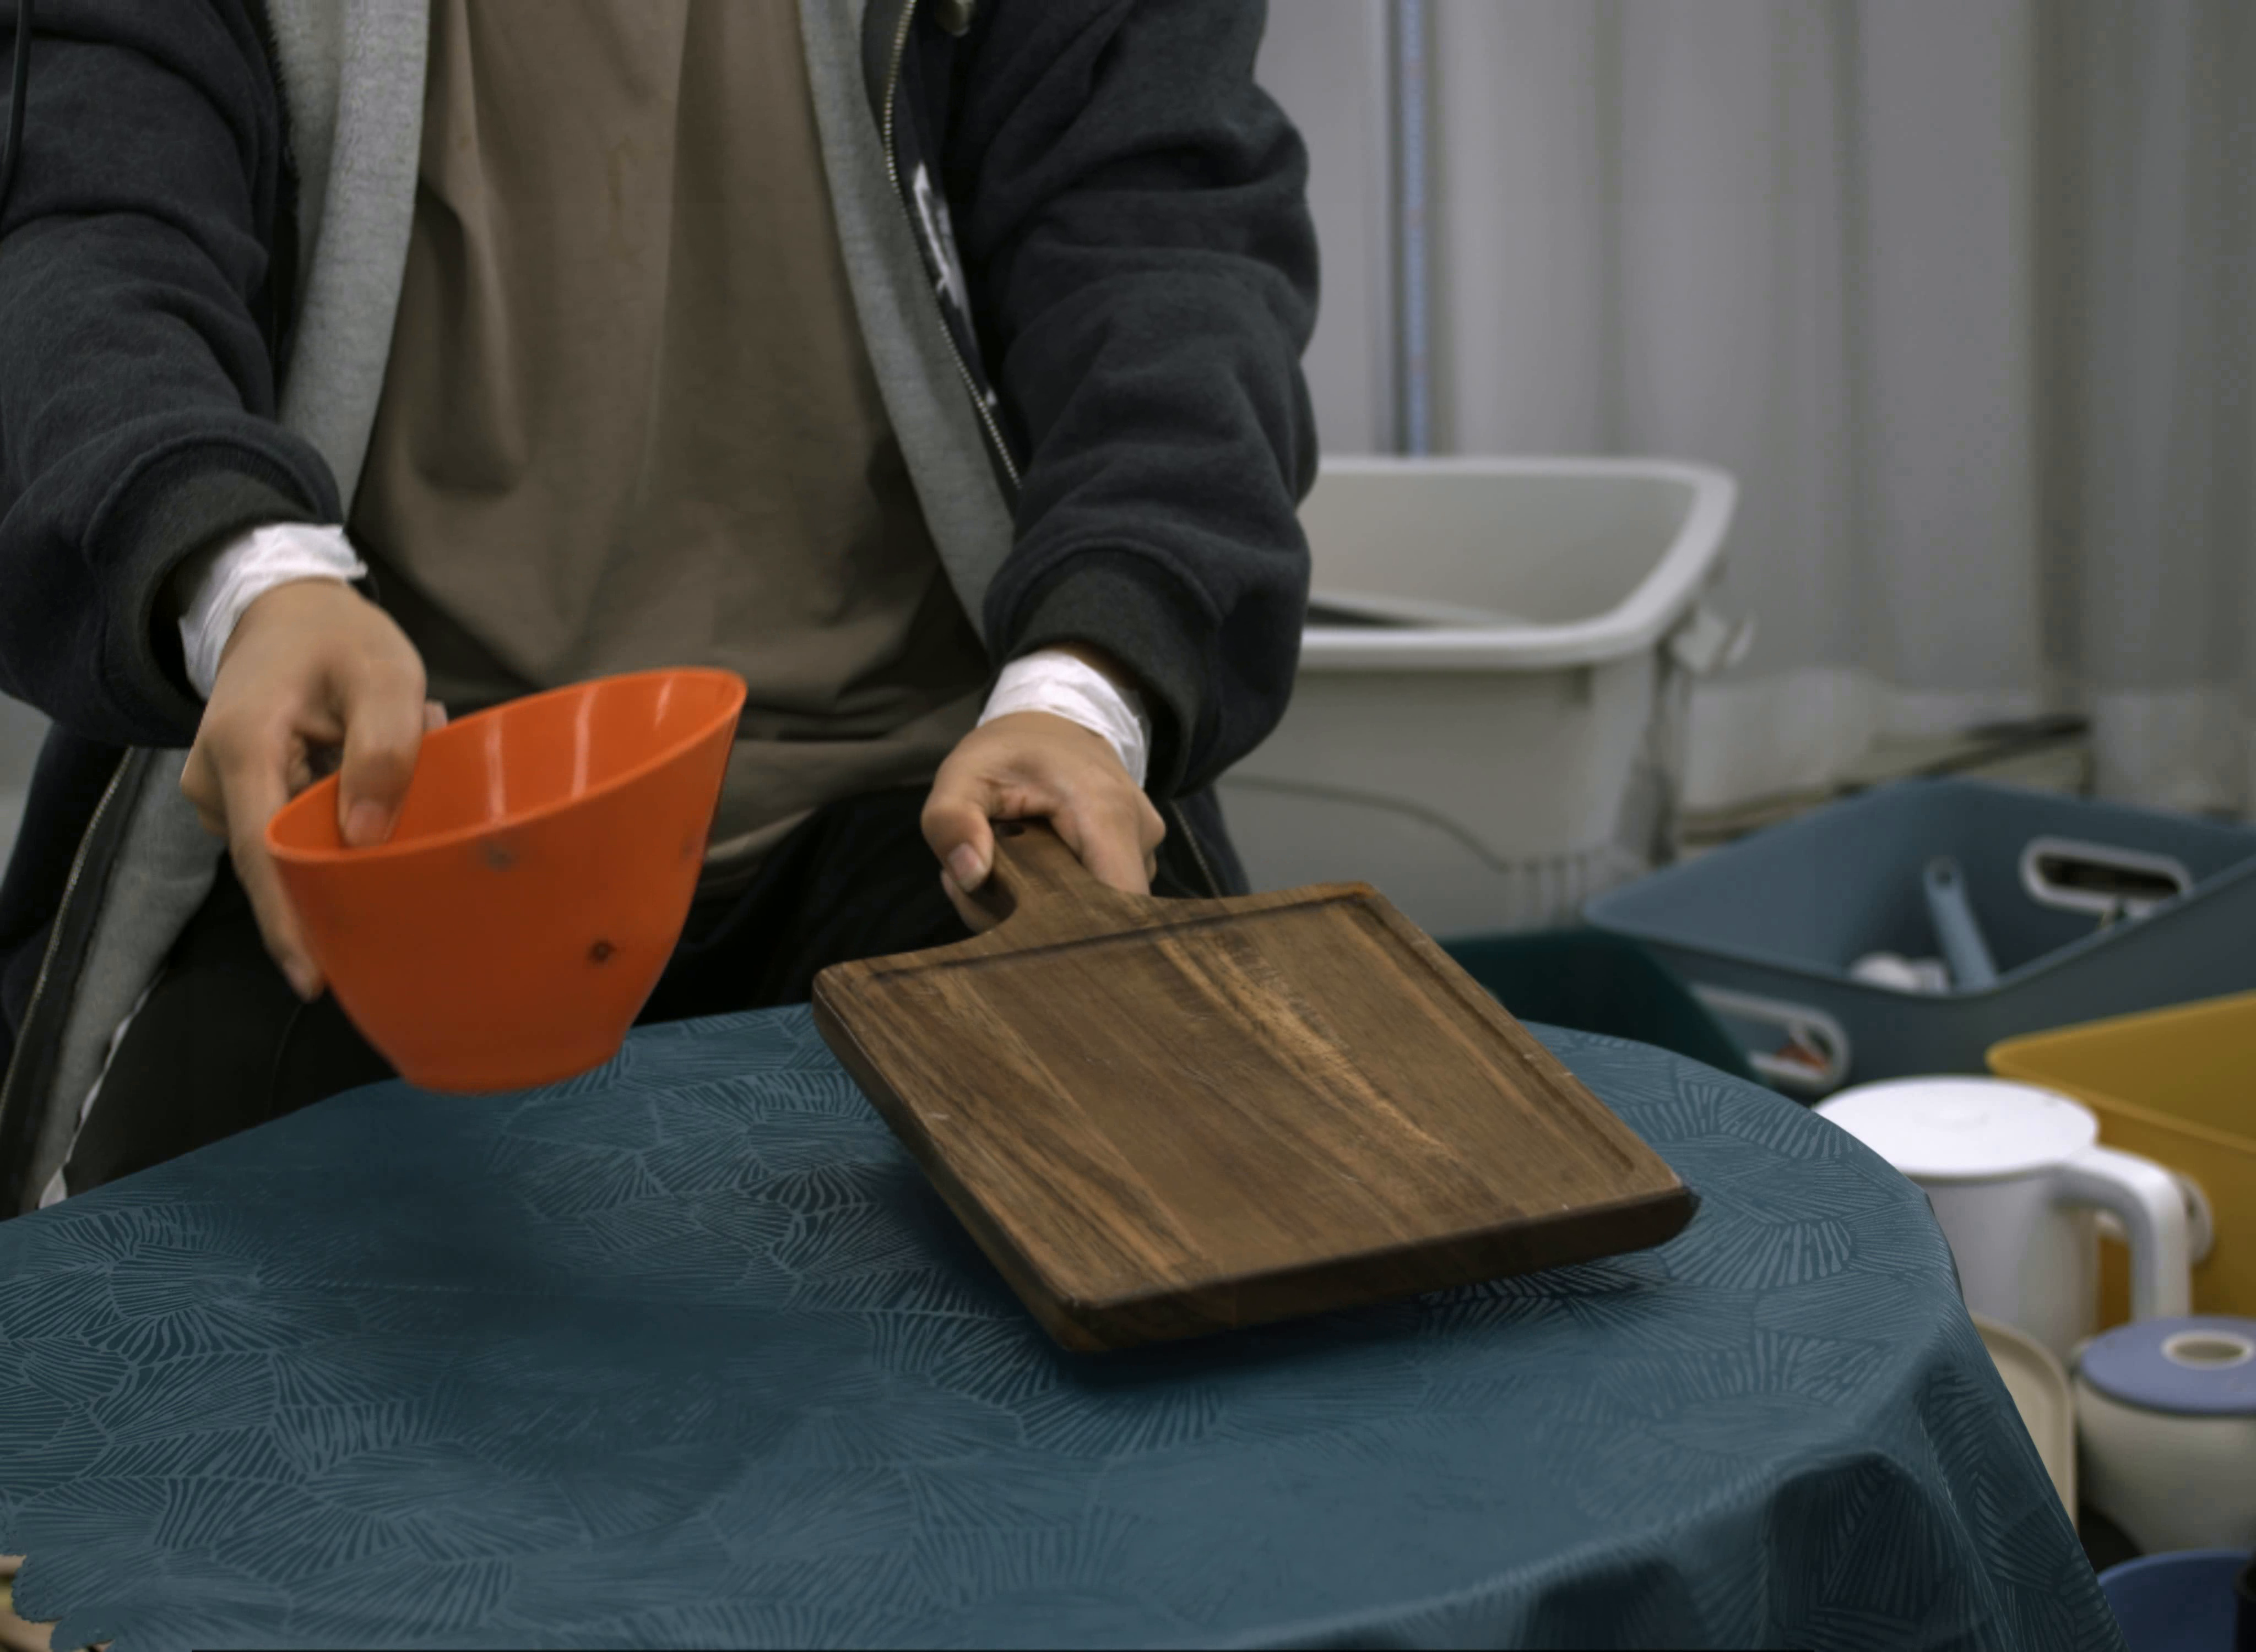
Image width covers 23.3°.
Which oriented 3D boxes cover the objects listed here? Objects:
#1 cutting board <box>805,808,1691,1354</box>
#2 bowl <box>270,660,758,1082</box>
[{"bbox_3d":[0.014,0.065,1.714,0.200,0.023,0.356,-9,24,-18],"label":"cutting board"},{"bbox_3d":[-0.177,0.016,1.622,0.147,0.104,0.149,-6,15,1],"label":"bowl"}]
